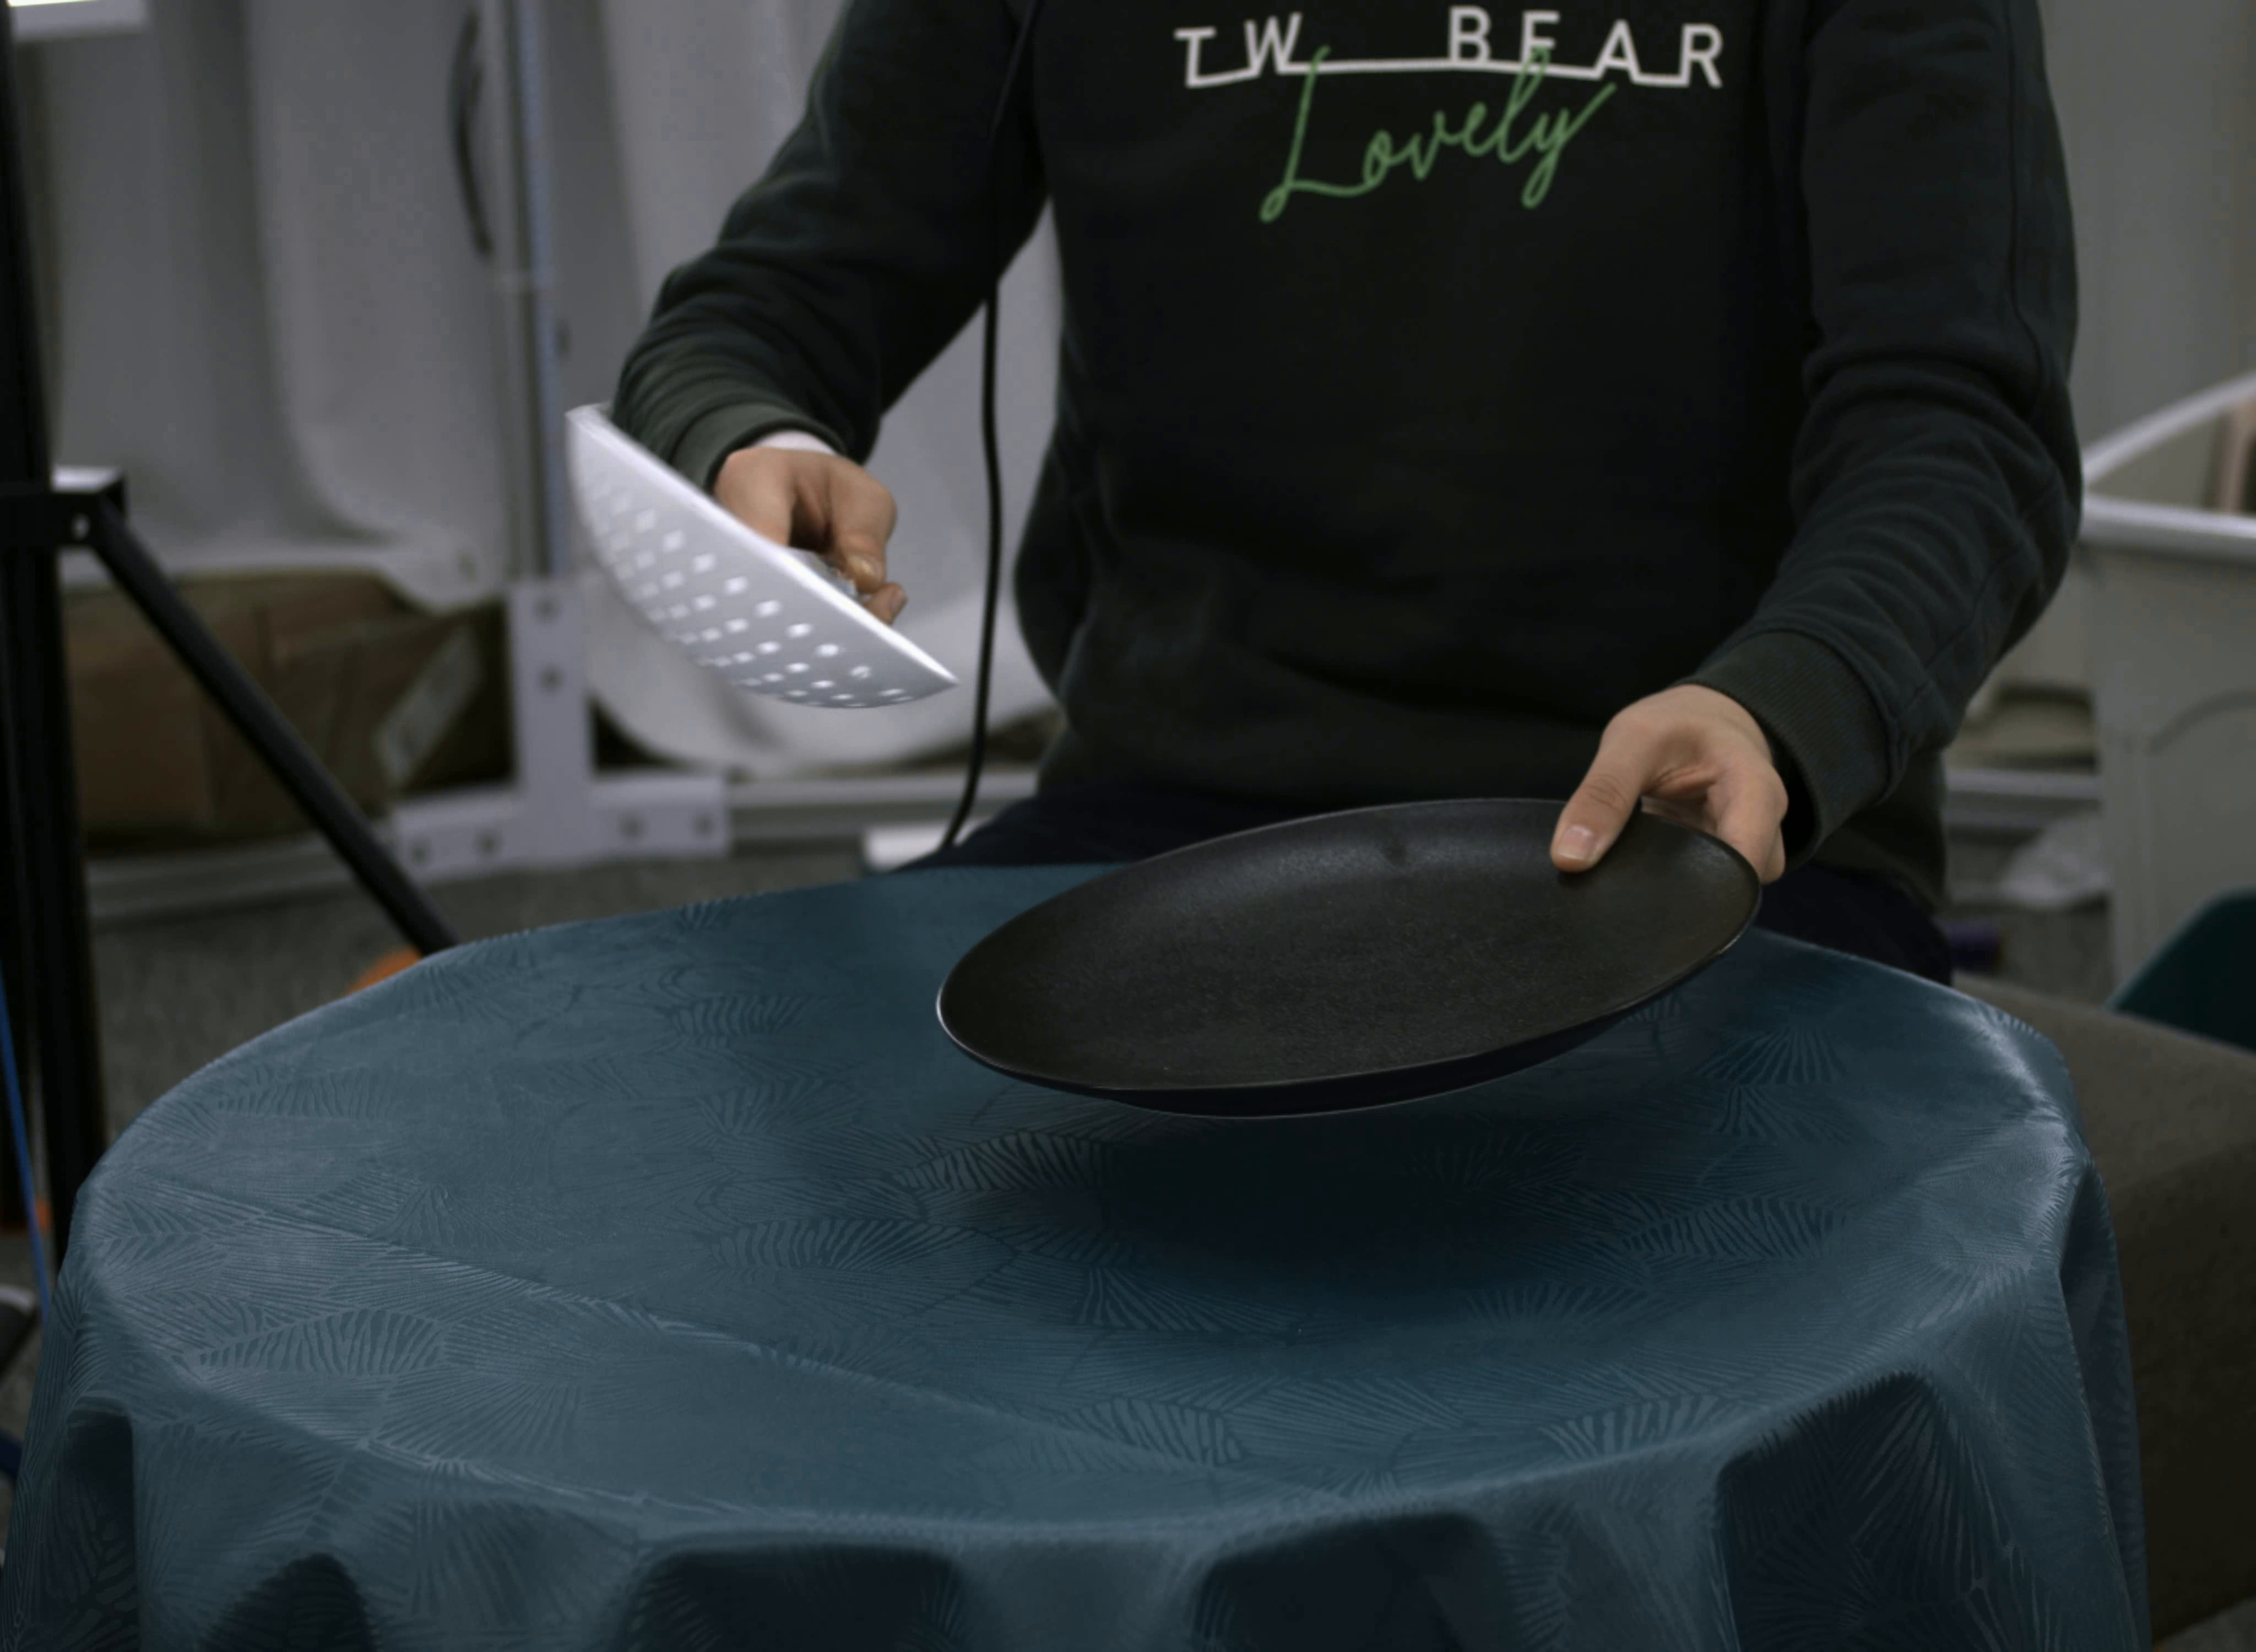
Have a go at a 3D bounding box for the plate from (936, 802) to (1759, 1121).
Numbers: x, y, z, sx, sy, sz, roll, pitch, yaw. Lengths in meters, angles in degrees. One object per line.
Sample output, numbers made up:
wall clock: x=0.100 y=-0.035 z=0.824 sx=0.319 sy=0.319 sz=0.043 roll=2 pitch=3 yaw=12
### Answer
plate: x=0.065 y=0.042 z=1.556 sx=0.243 sy=0.023 sz=0.246 roll=-10 pitch=17 yaw=1

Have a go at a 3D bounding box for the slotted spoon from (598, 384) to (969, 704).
slotted spoon: x=-0.100 y=-0.078 z=1.651 sx=0.136 sy=0.046 sz=0.348 roll=39 pitch=5 yaw=1
